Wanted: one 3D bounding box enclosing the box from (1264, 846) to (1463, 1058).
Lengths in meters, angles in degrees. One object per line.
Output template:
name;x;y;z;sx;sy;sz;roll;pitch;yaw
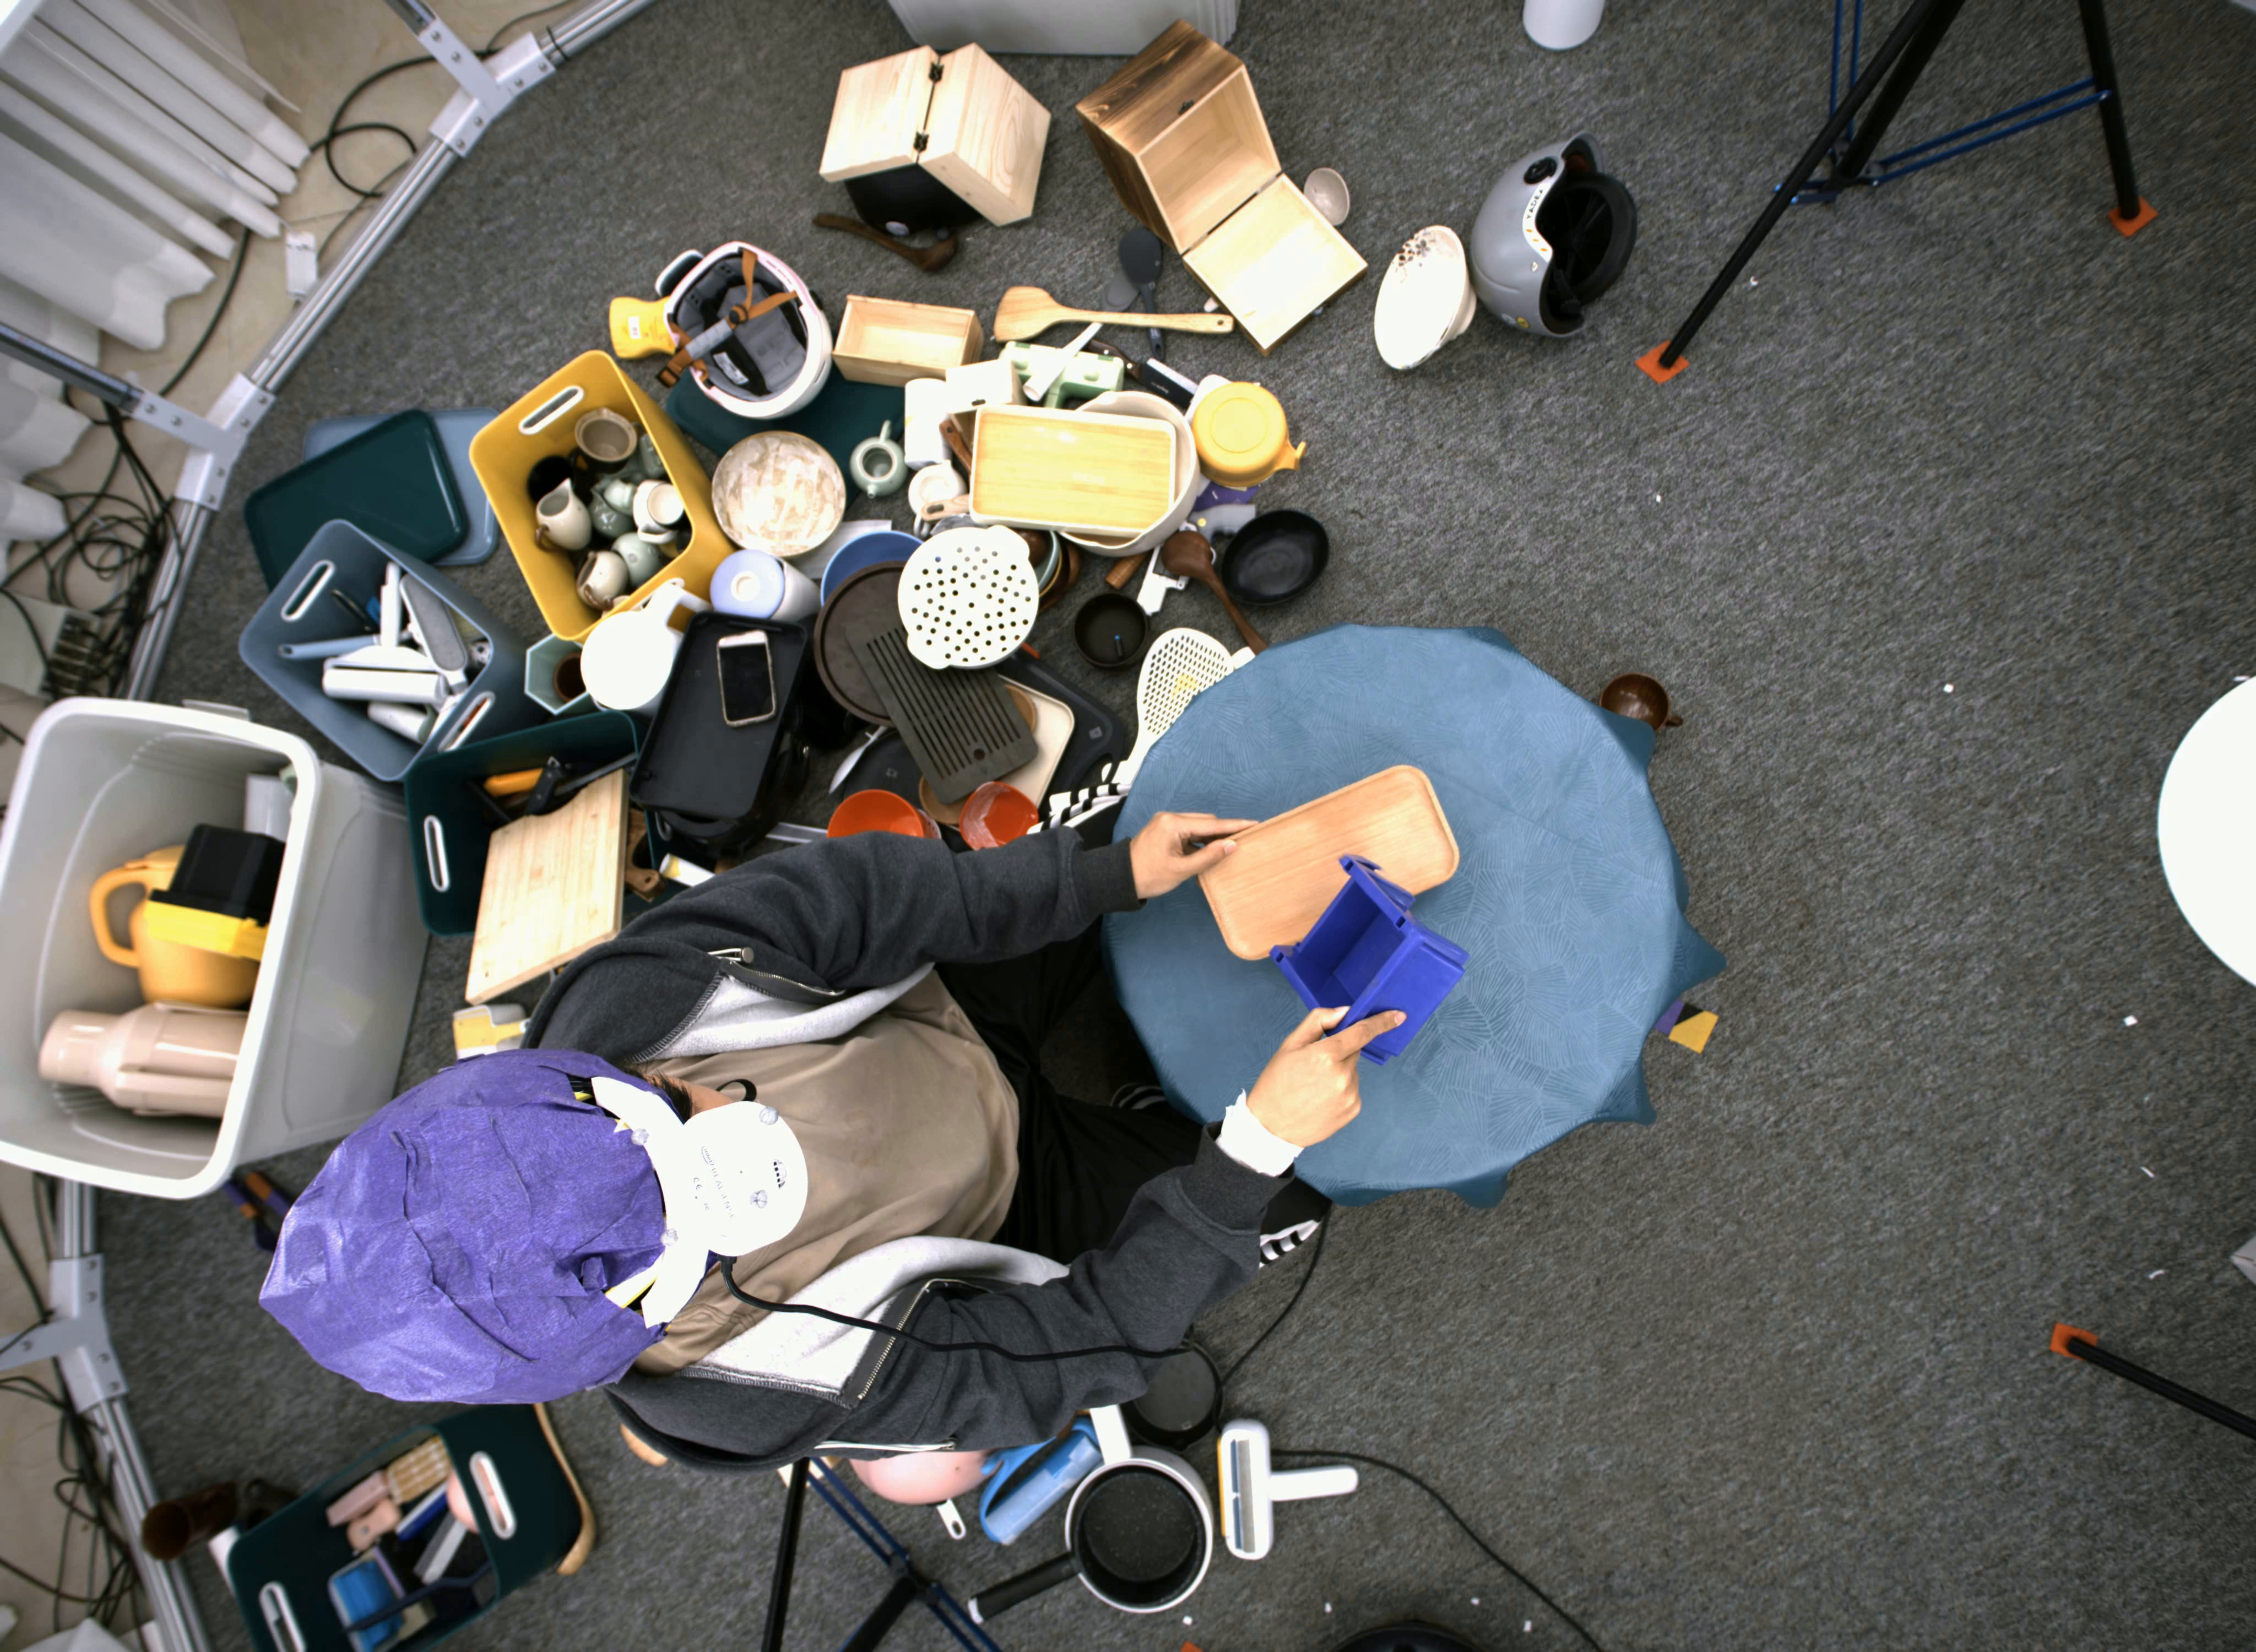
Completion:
box;0.206;0.109;1.248;0.082;0.176;0.126;26;109;-32

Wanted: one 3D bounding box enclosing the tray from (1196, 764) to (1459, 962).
tray;0.199;0.036;1.385;0.252;0.023;0.130;-23;91;7
